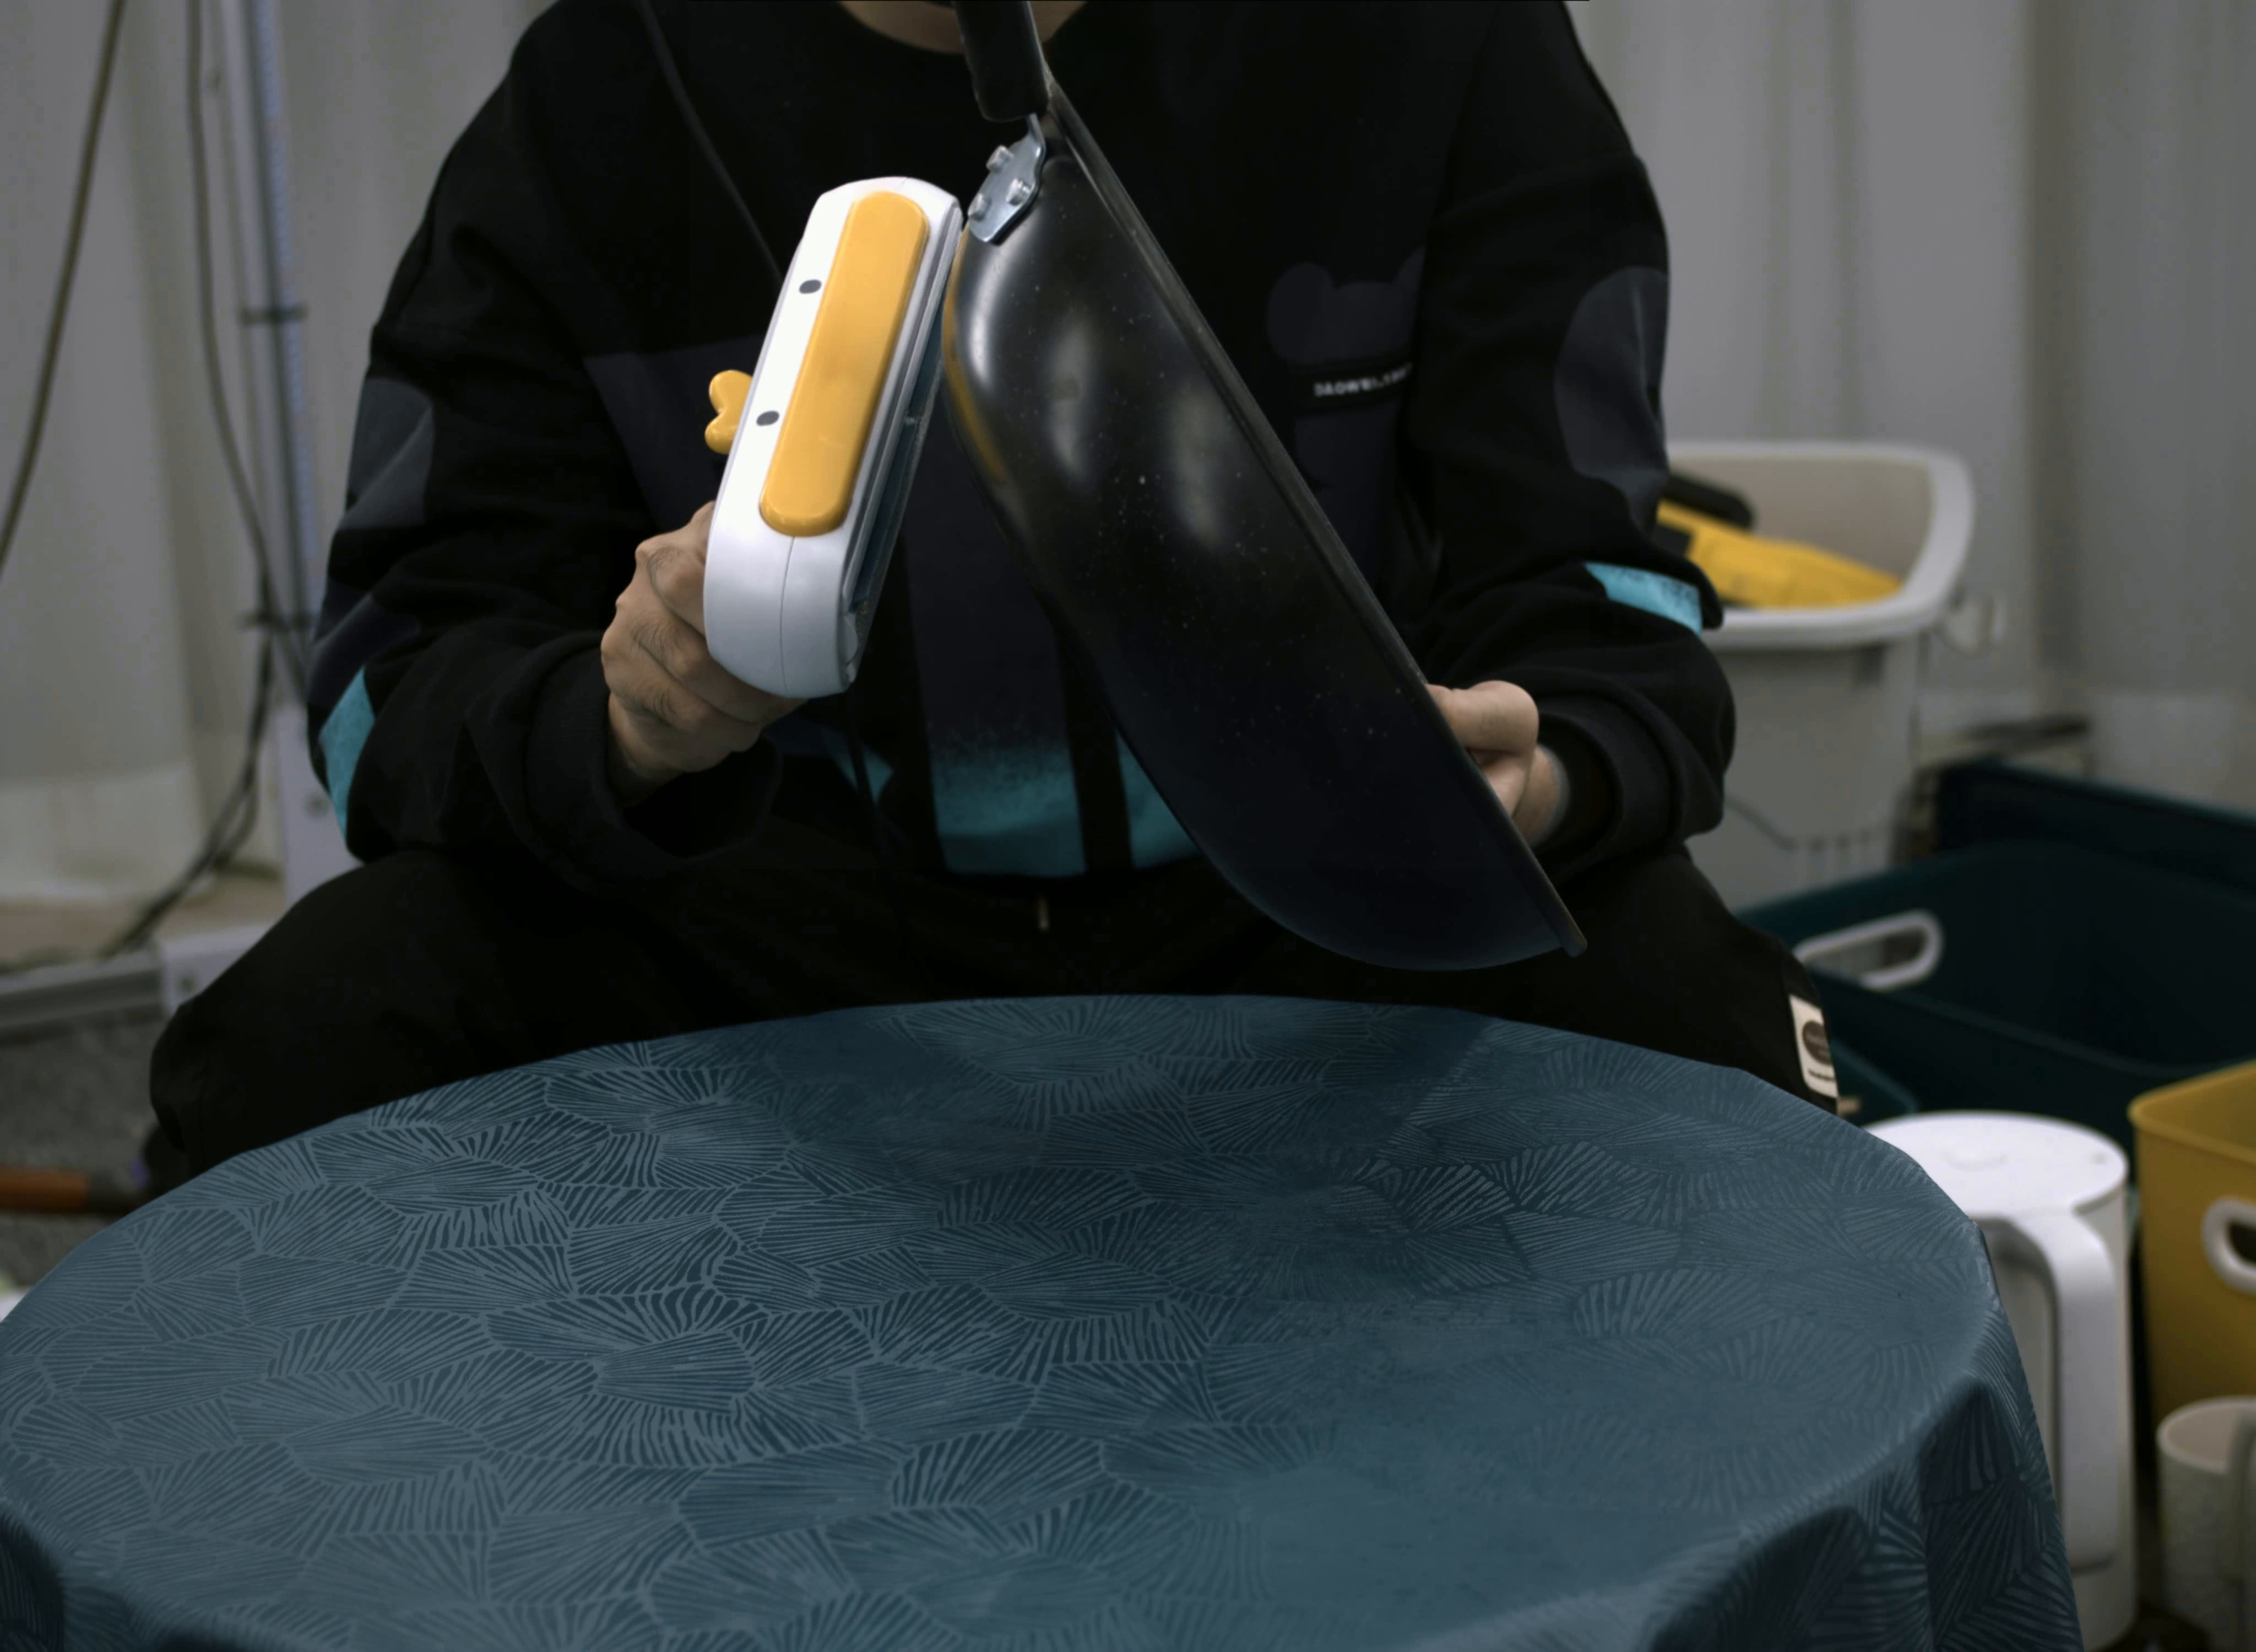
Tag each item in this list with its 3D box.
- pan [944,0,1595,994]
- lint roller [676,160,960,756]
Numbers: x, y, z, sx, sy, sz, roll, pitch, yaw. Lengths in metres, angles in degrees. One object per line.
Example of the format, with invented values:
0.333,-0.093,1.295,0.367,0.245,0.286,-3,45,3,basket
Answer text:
-0.005,-0.137,1.646,0.111,0.473,0.313,-32,22,2,pan
-0.108,-0.093,1.776,0.074,0.190,0.196,10,48,-3,lint roller
